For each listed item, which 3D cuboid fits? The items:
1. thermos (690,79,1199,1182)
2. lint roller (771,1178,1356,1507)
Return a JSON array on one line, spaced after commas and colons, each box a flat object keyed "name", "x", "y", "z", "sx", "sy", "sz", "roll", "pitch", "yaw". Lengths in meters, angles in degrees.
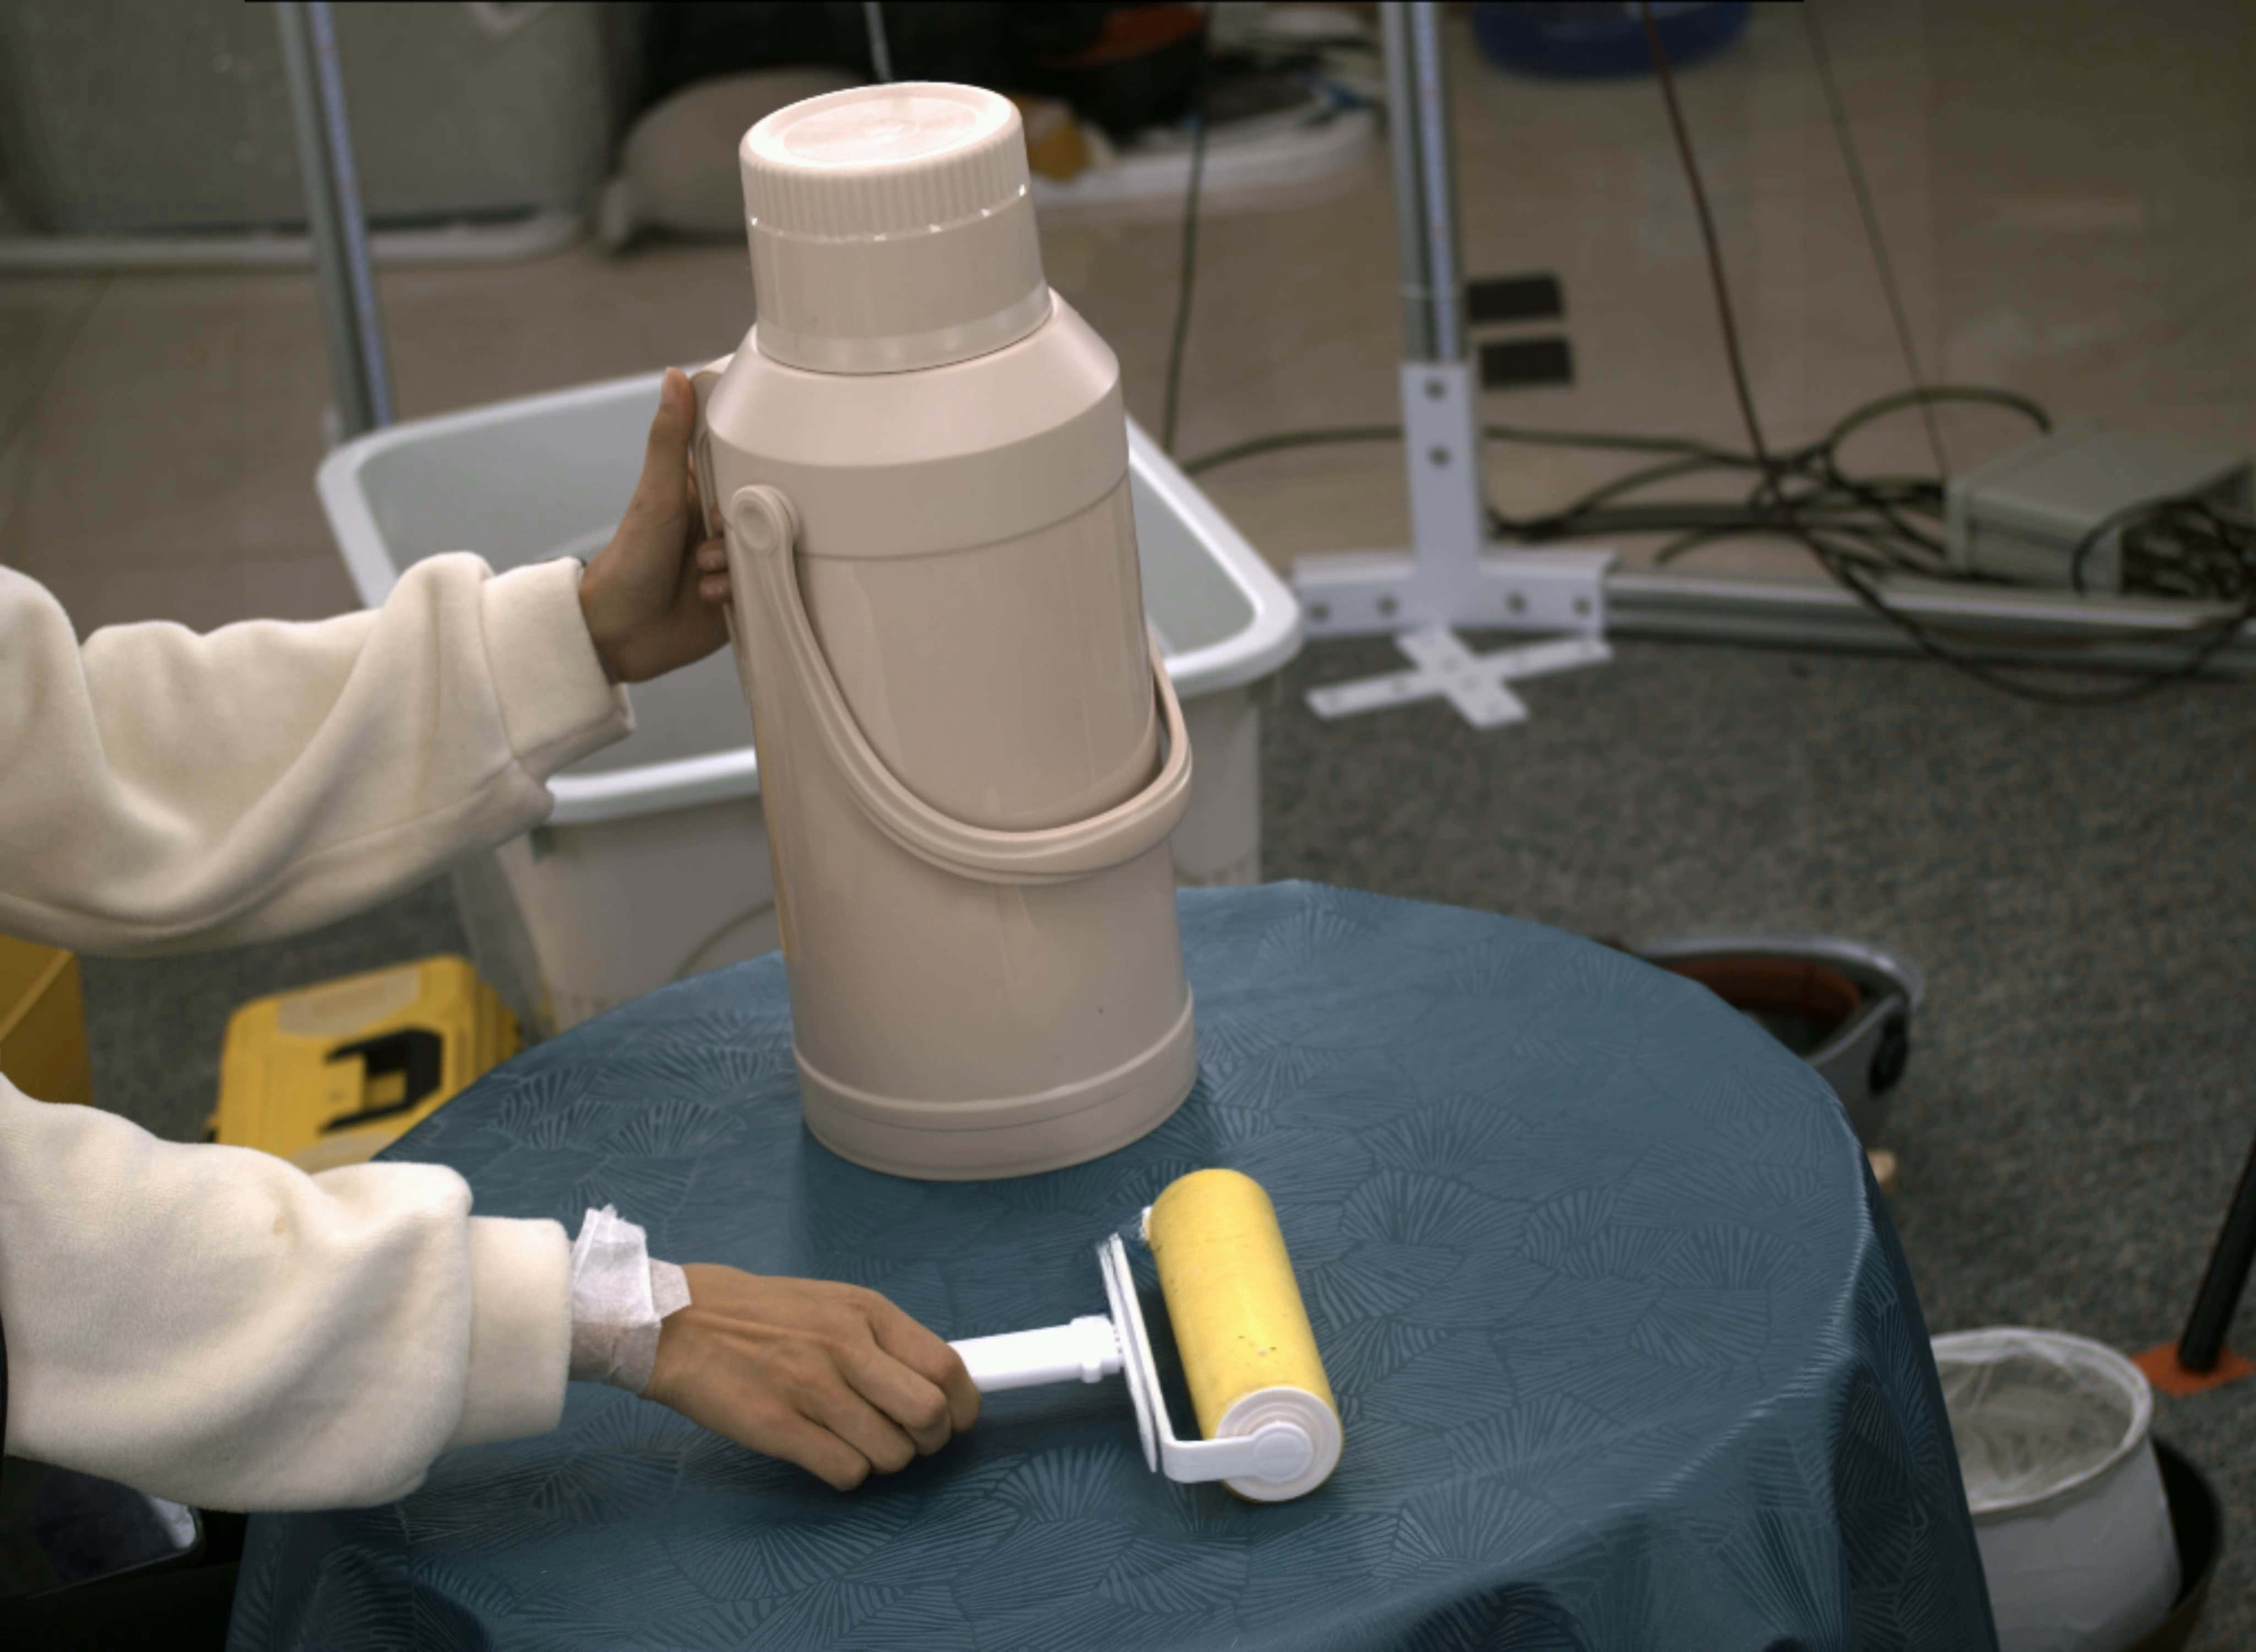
[{"name": "thermos", "x": -0.079, "y": -0.079, "z": 2.158, "sx": 0.205, "sy": 0.413, "sz": 0.173, "roll": 17, "pitch": 35, "yaw": 40}, {"name": "lint roller", "x": -0.028, "y": 0.178, "z": 1.986, "sx": 0.192, "sy": 0.052, "sz": 0.172, "roll": 4, "pitch": 23, "yaw": -11}]
